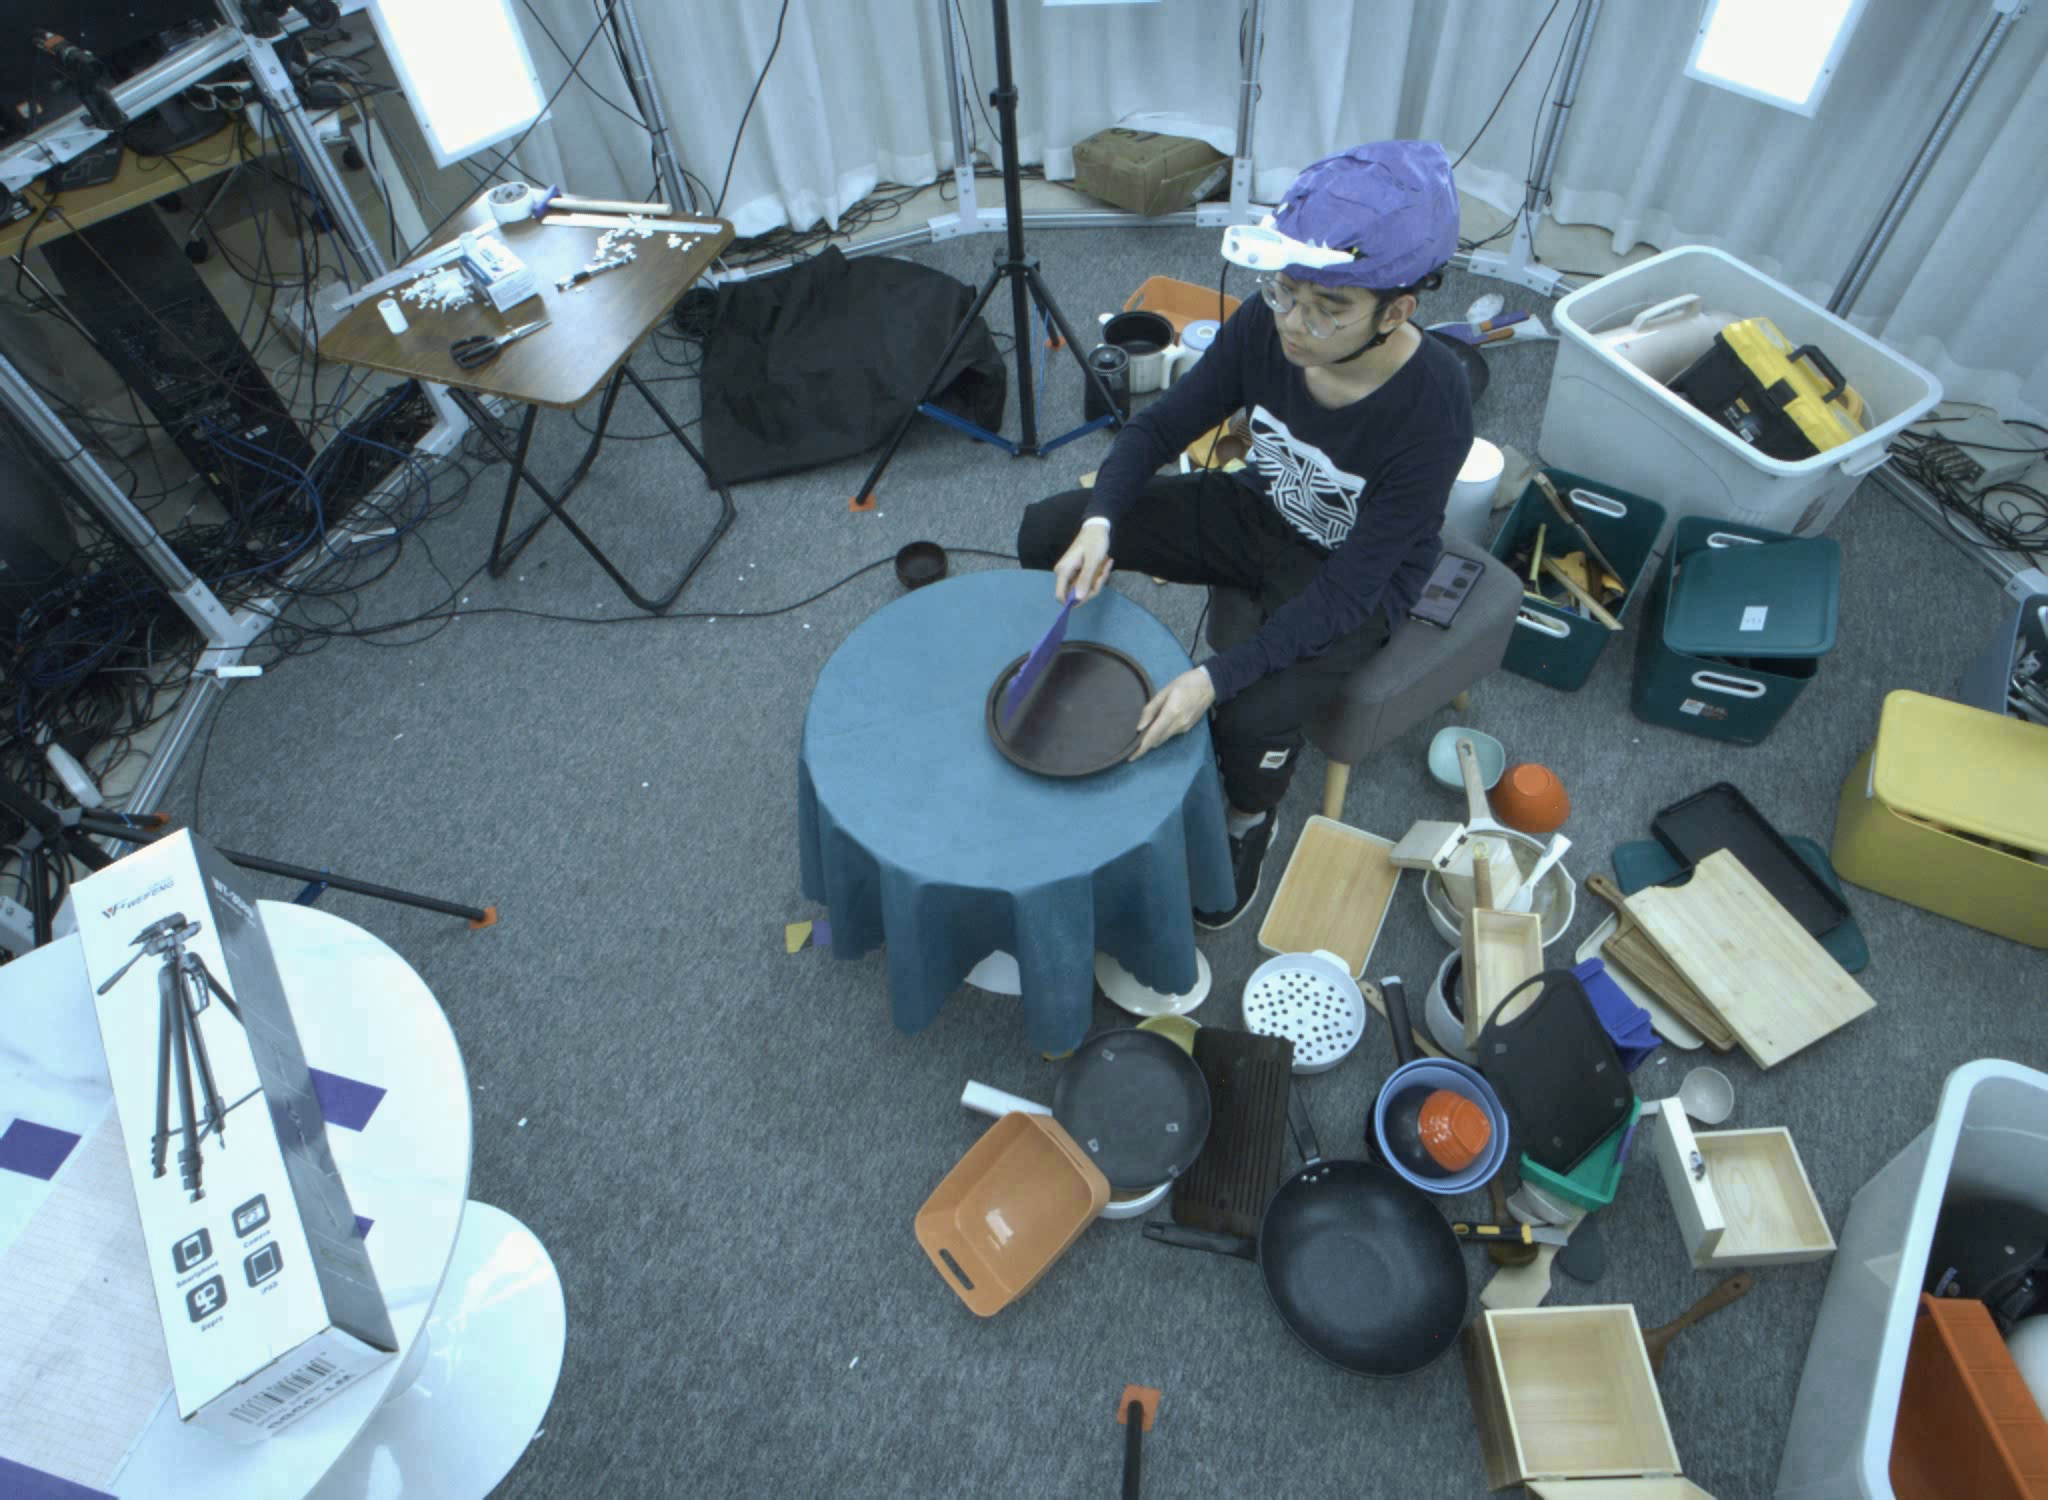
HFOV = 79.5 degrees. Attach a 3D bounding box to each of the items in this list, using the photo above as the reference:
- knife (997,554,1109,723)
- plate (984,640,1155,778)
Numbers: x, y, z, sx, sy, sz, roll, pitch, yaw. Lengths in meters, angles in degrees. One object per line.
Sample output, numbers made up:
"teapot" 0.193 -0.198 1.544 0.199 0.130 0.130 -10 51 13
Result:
"knife" 0.039 -0.167 1.818 0.032 0.104 0.316 28 56 11
"plate" 0.067 -0.062 1.815 0.254 0.029 0.252 -3 54 5
